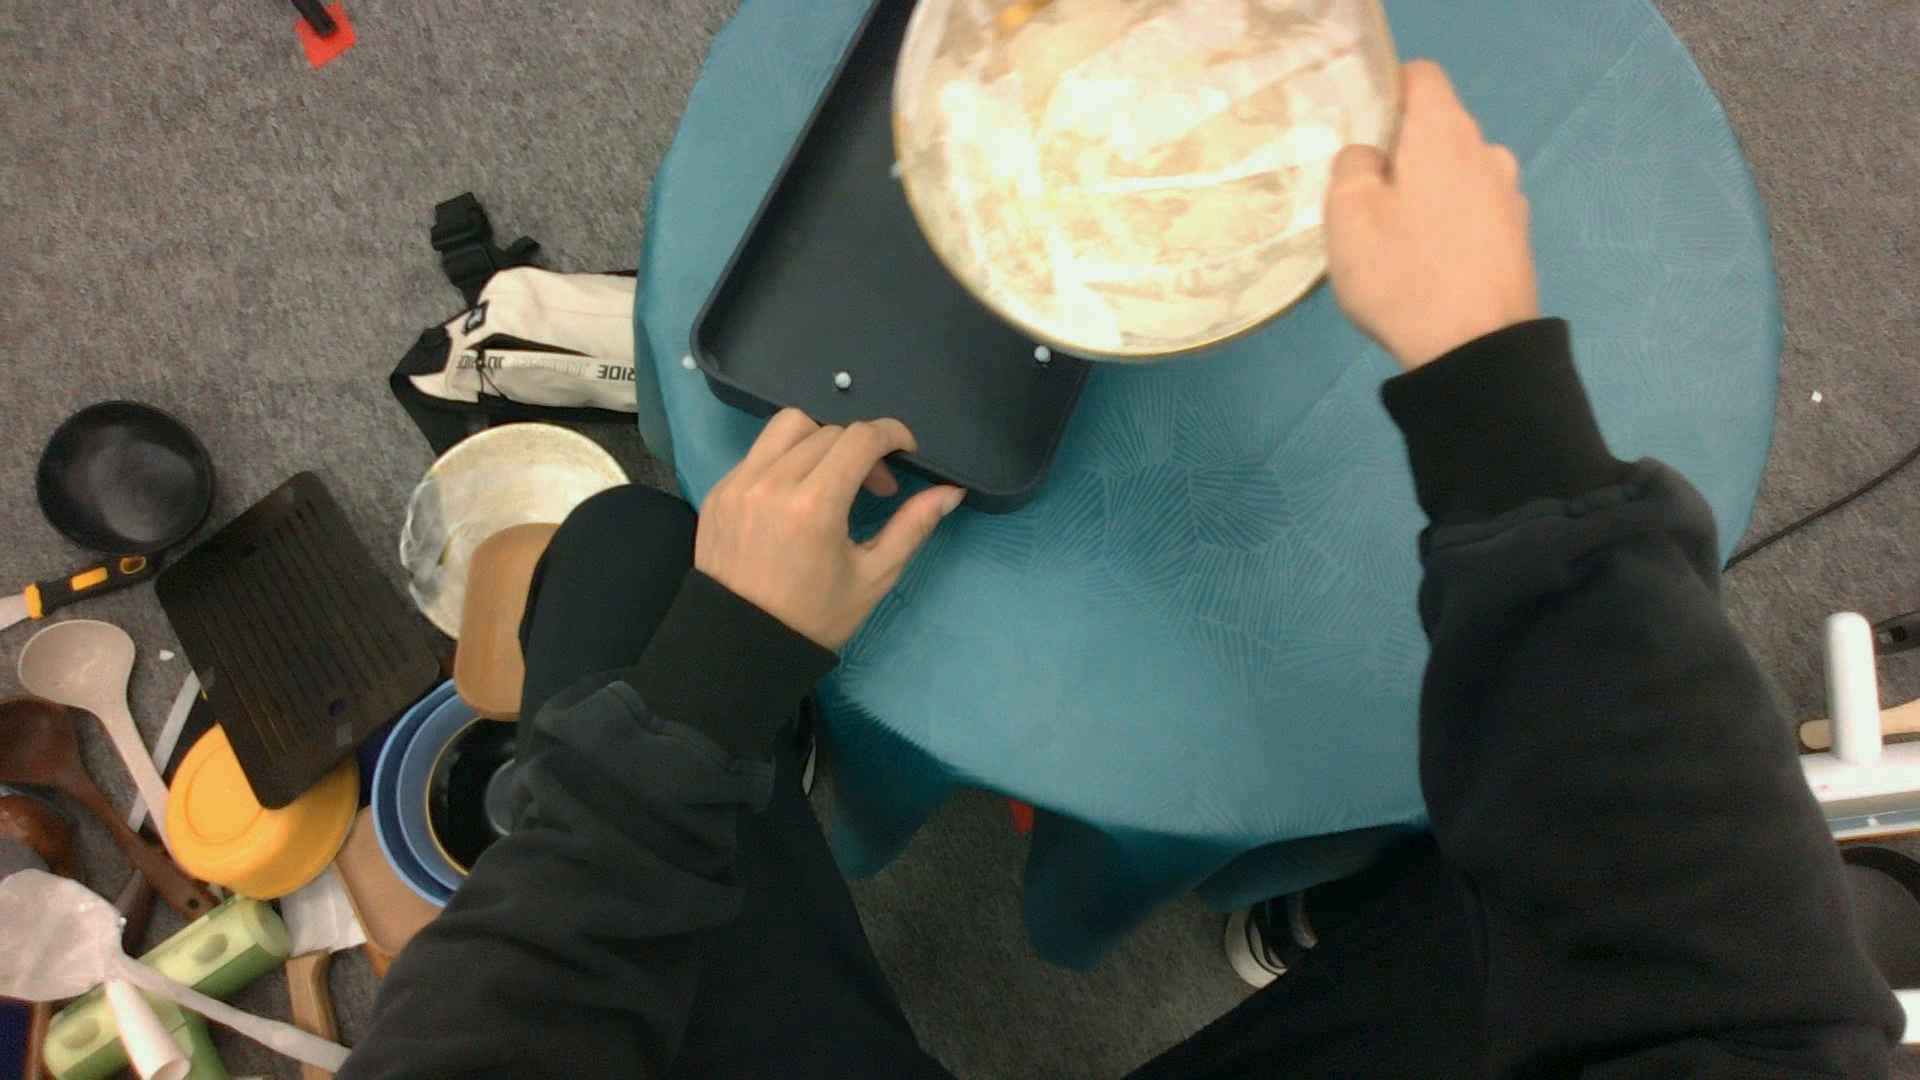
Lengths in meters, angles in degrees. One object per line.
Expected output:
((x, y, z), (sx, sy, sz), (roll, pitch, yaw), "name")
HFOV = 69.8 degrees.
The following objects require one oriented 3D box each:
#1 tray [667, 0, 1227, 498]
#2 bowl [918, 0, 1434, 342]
((0.001, -0.189, 0.706), (0.184, 0.037, 0.319), (24, 71, 3), "tray")
((0.091, -0.175, 0.596), (0.214, 0.094, 0.215), (-1, 84, 11), "bowl")
